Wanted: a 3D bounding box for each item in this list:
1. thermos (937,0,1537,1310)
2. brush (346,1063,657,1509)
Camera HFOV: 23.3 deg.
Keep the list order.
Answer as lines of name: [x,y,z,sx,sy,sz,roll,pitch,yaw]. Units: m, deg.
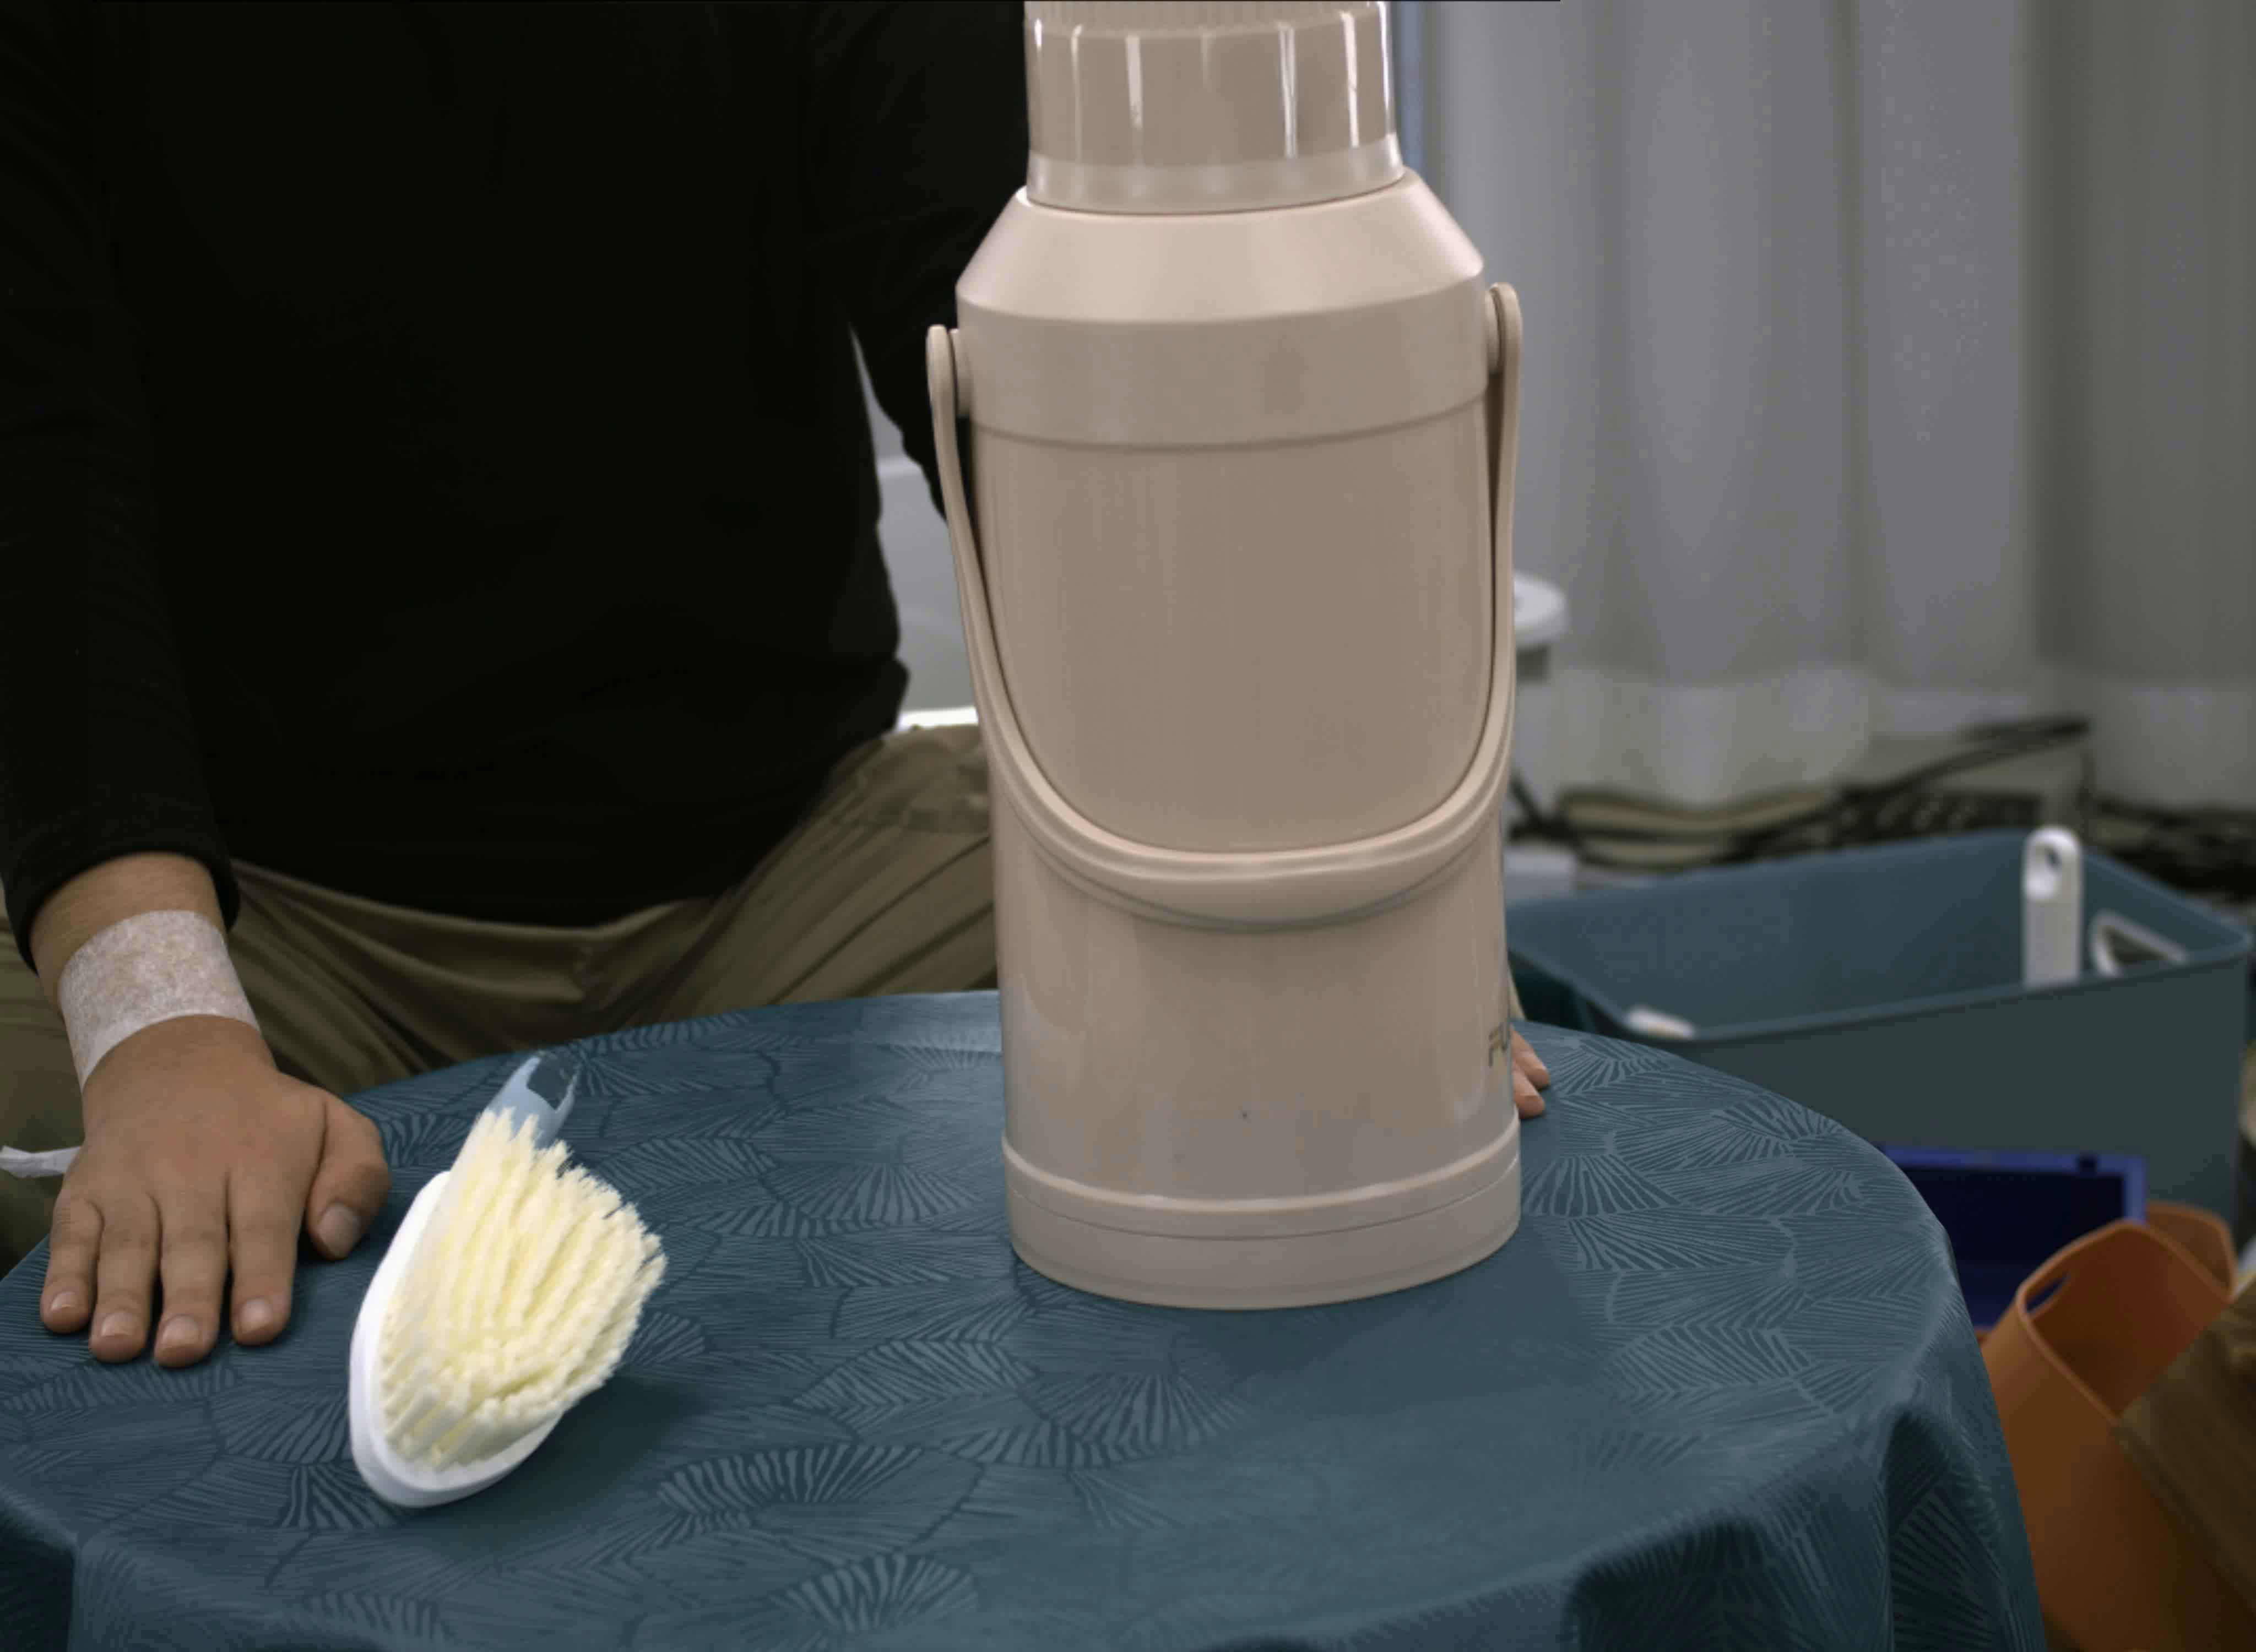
thermos: [0.035,-0.073,1.647,0.174,0.405,0.208,-6,14,-7]
brush: [-0.177,0.107,1.622,0.084,0.082,0.328,-8,16,4]
